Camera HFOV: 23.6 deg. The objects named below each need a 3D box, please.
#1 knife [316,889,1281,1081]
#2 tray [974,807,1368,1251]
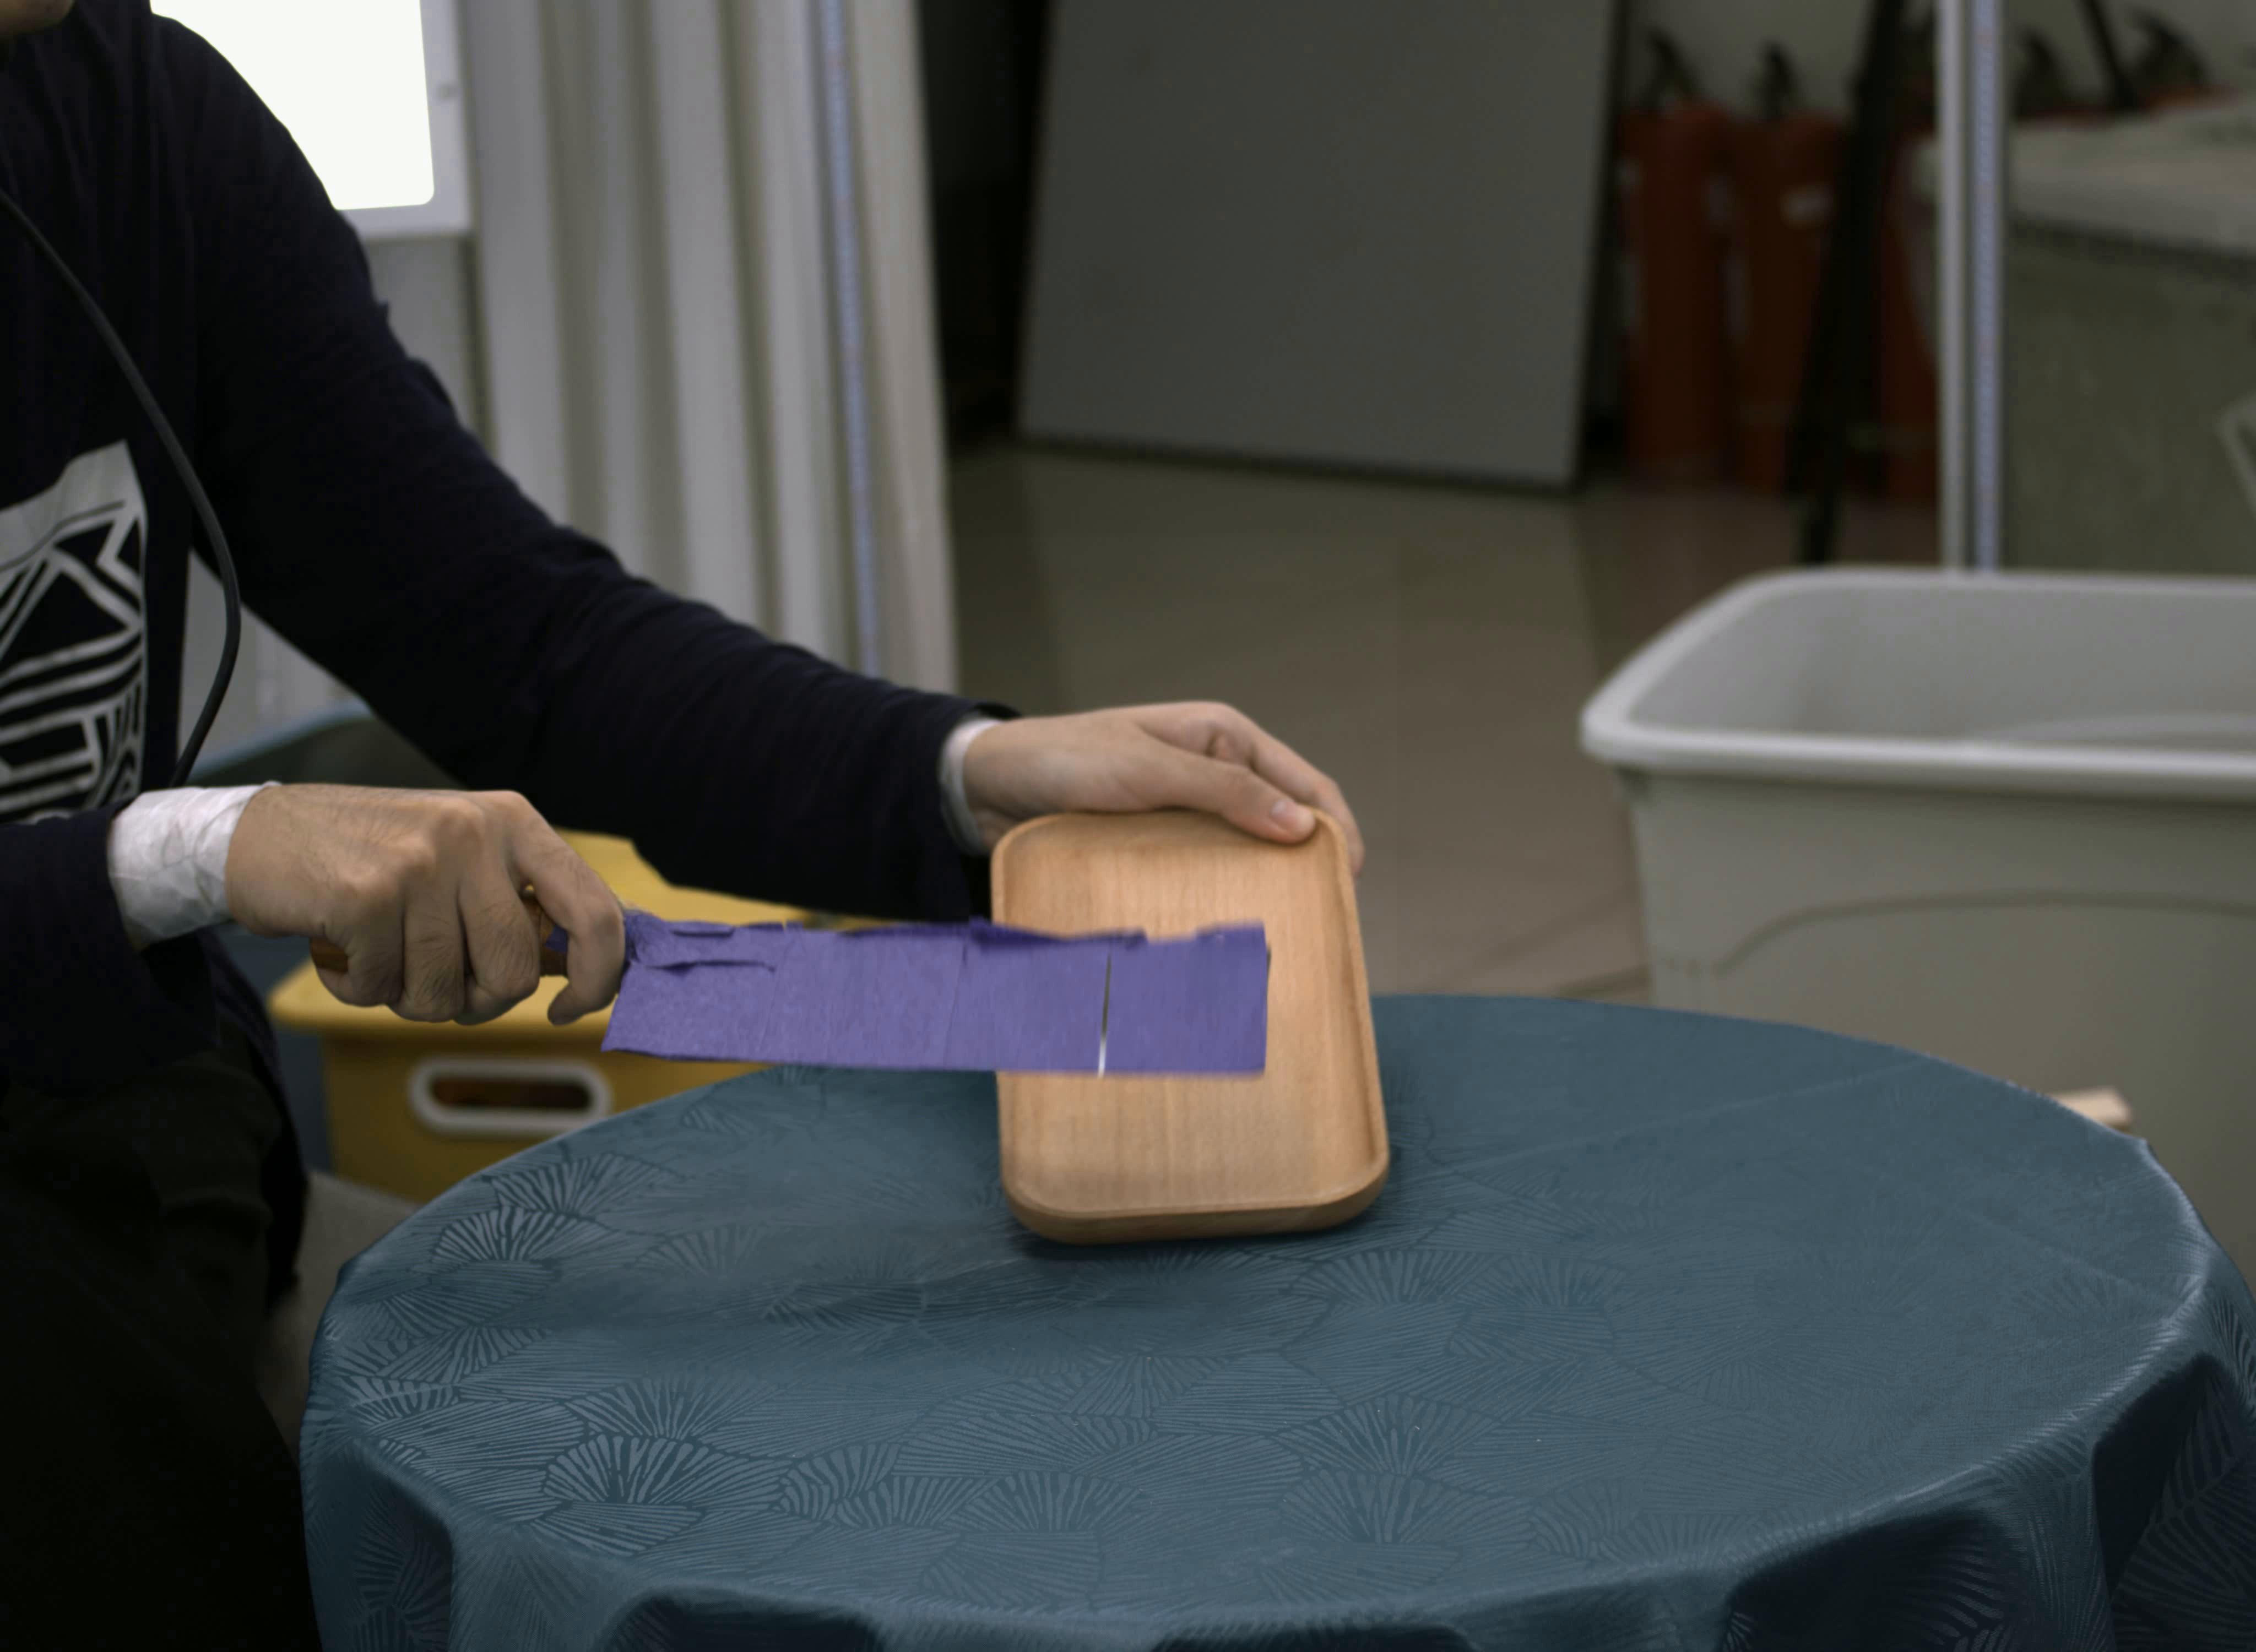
[{"bbox_3d":[-0.108,0.051,1.700,0.312,0.032,0.104,1,23,6],"label":"knife"},{"bbox_3d":[0.015,0.066,1.818,0.129,0.023,0.252,-5,32,5],"label":"tray"}]
